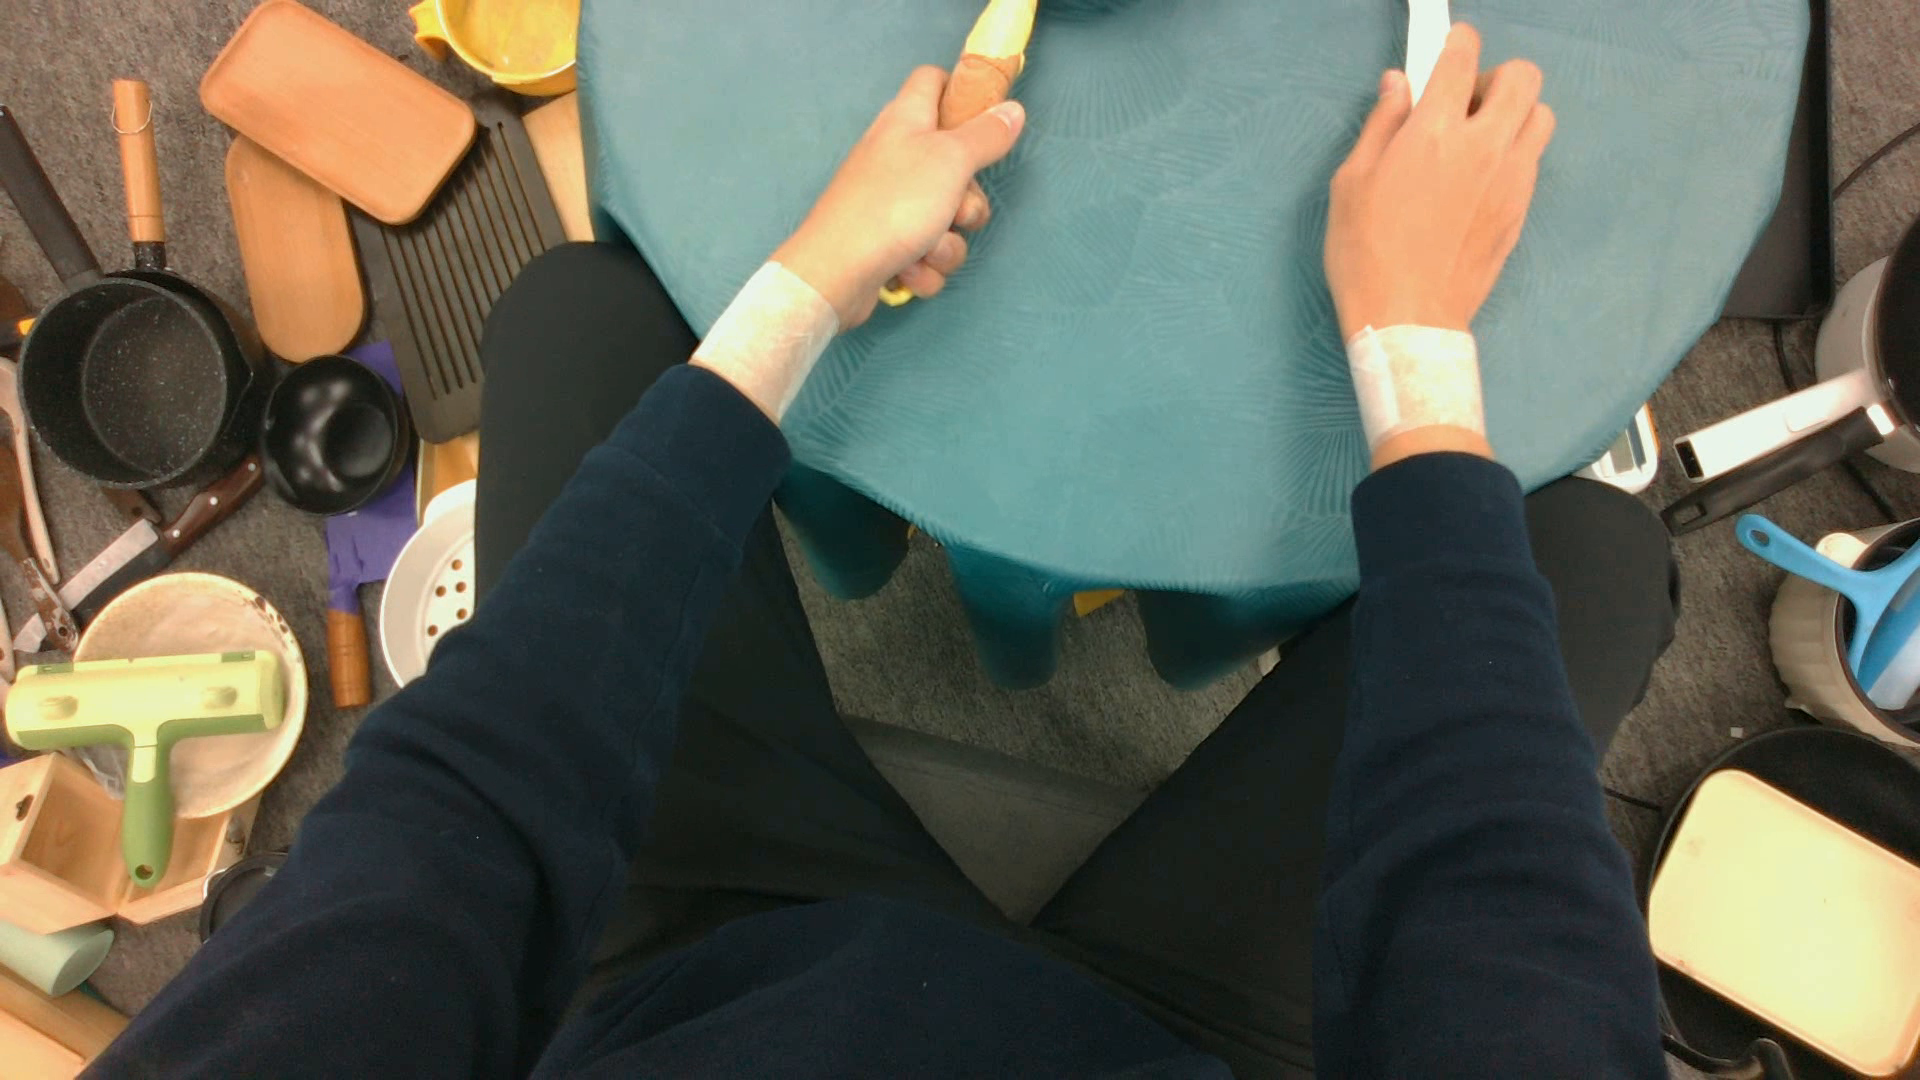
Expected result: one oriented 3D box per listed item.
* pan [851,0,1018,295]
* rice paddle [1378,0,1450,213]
[{"bbox_3d":[0.018,-0.262,0.649,0.169,0.049,0.324,23,85,1],"label":"pan"},{"bbox_3d":[0.212,-0.261,0.659,0.069,0.029,0.205,-2,85,8],"label":"rice paddle"}]
